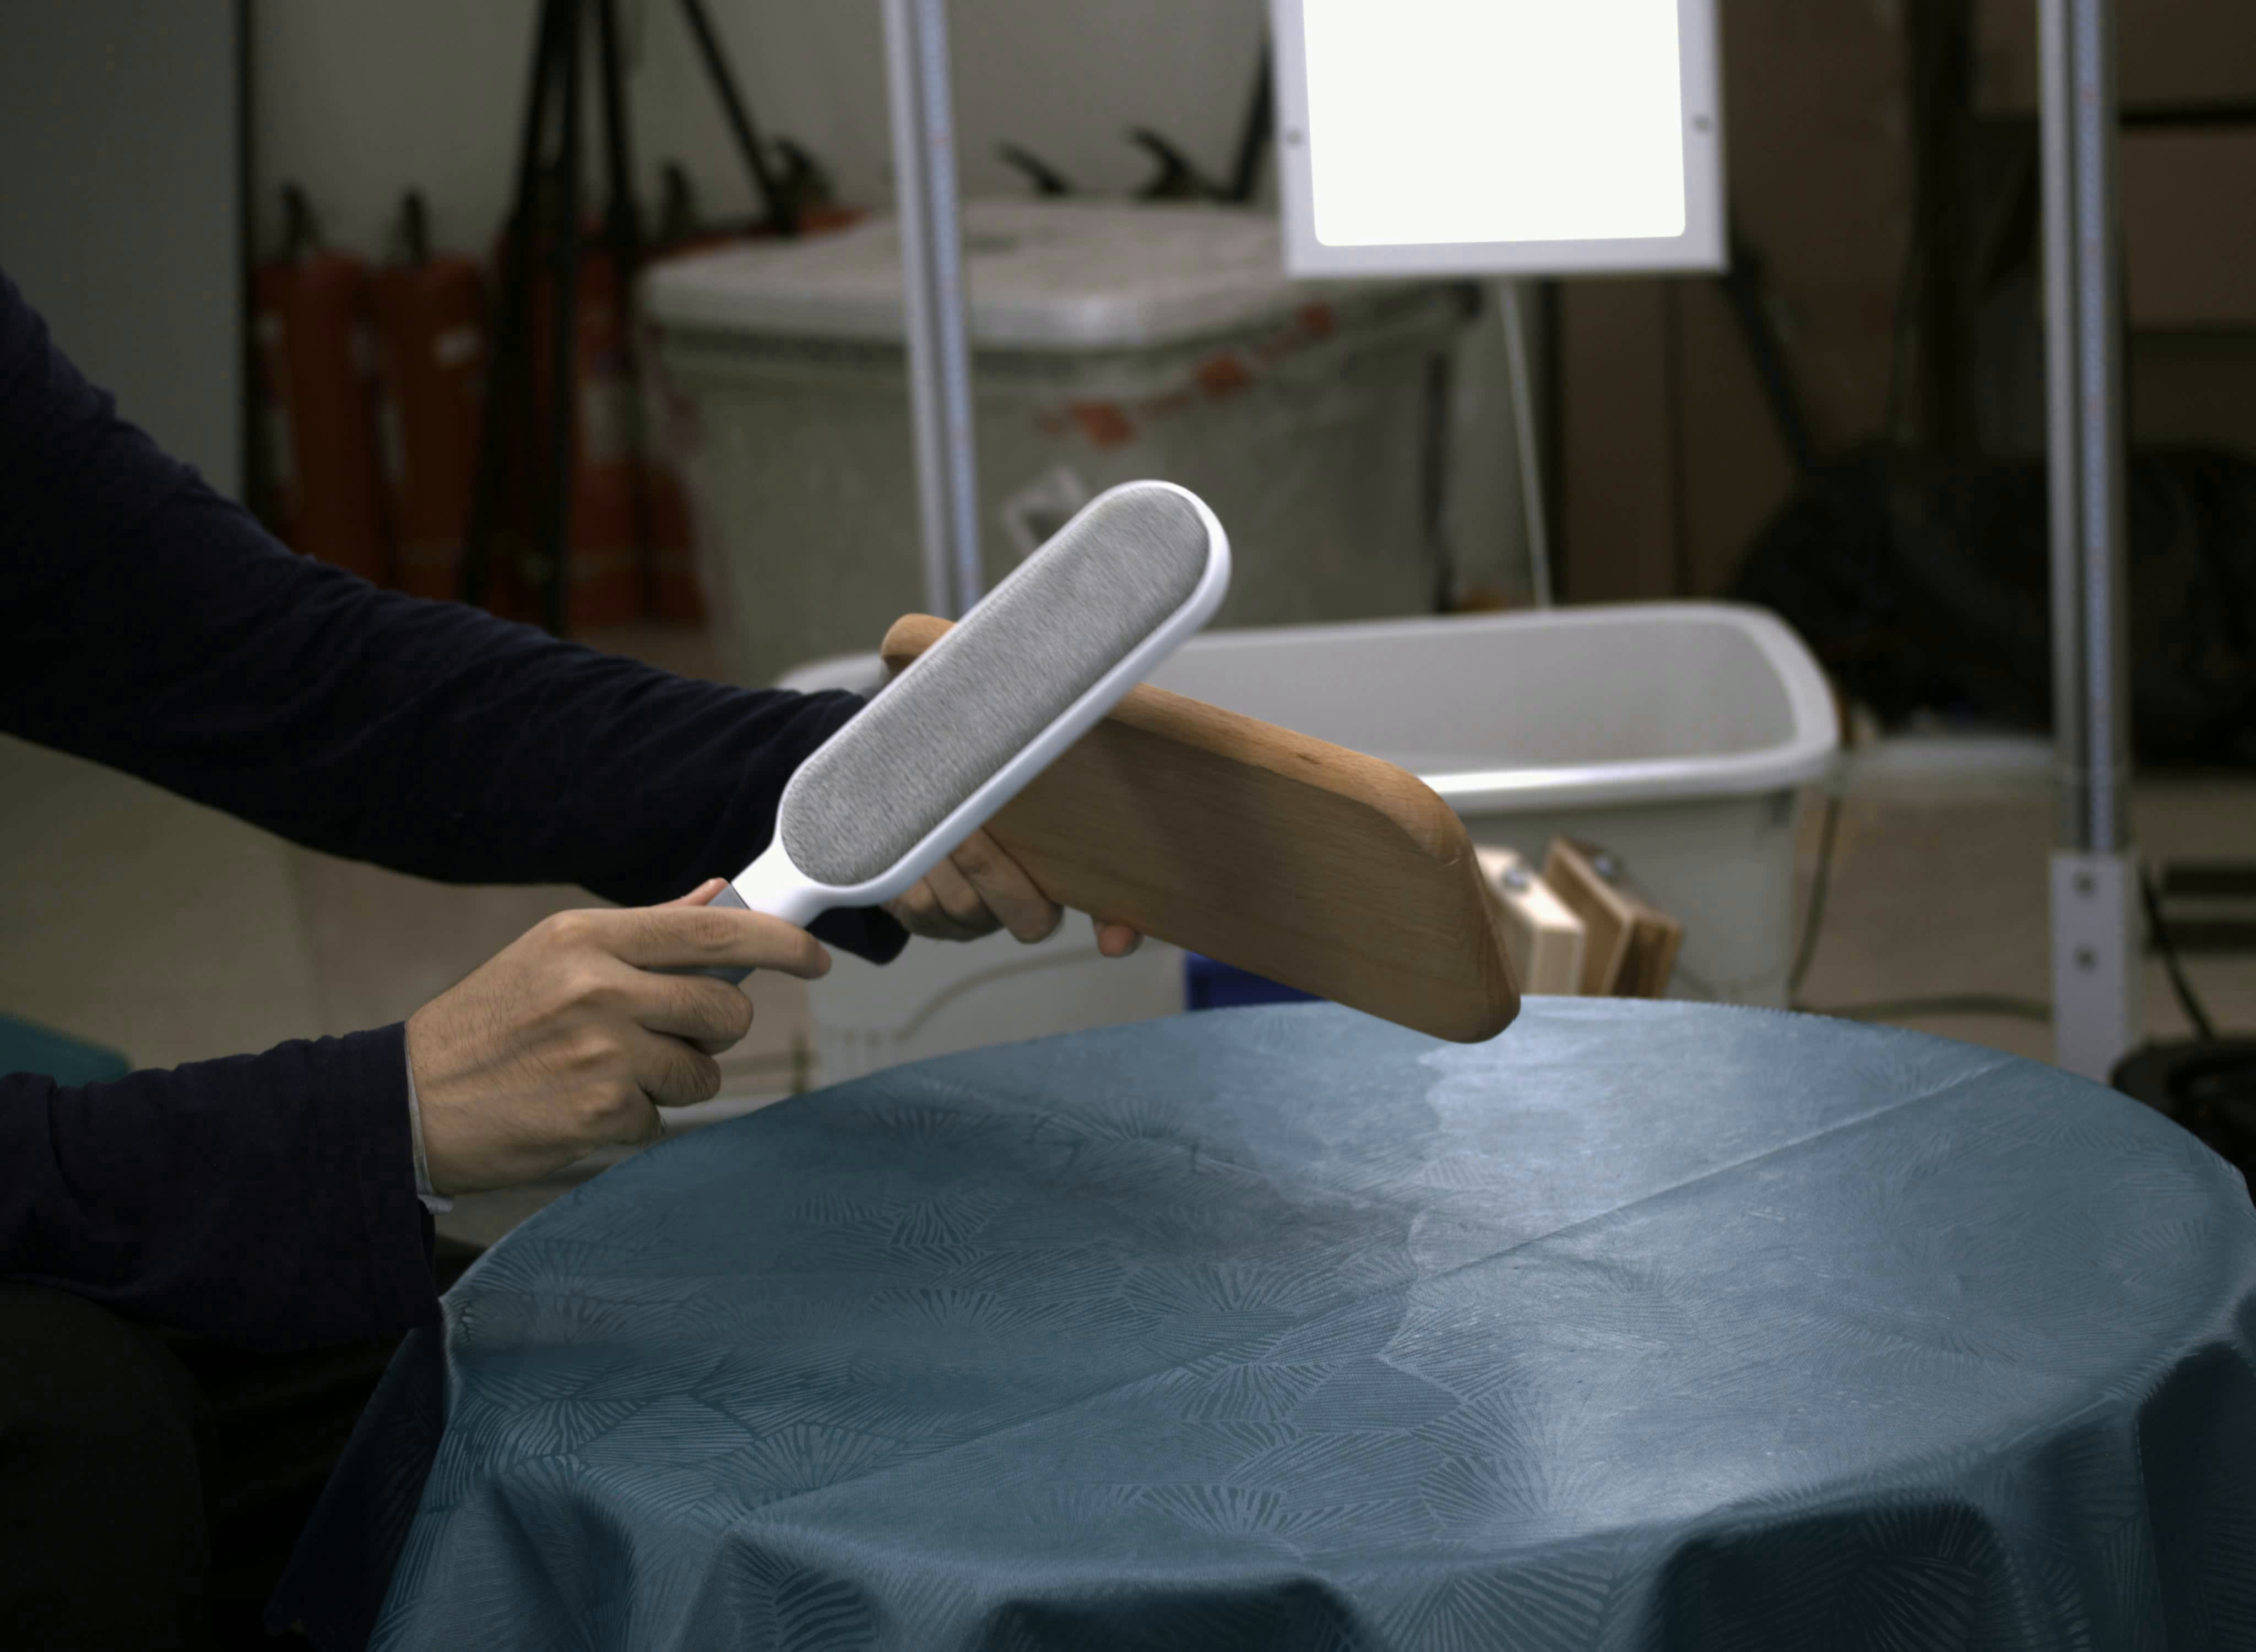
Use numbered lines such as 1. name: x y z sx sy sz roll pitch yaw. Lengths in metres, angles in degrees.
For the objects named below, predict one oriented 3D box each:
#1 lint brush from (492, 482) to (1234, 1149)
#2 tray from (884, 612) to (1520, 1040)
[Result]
1. lint brush: -0.088 -0.002 1.784 0.310 0.060 0.020 -41 -25 6
2. tray: 0.021 0.000 1.871 0.255 0.130 0.022 17 51 39
